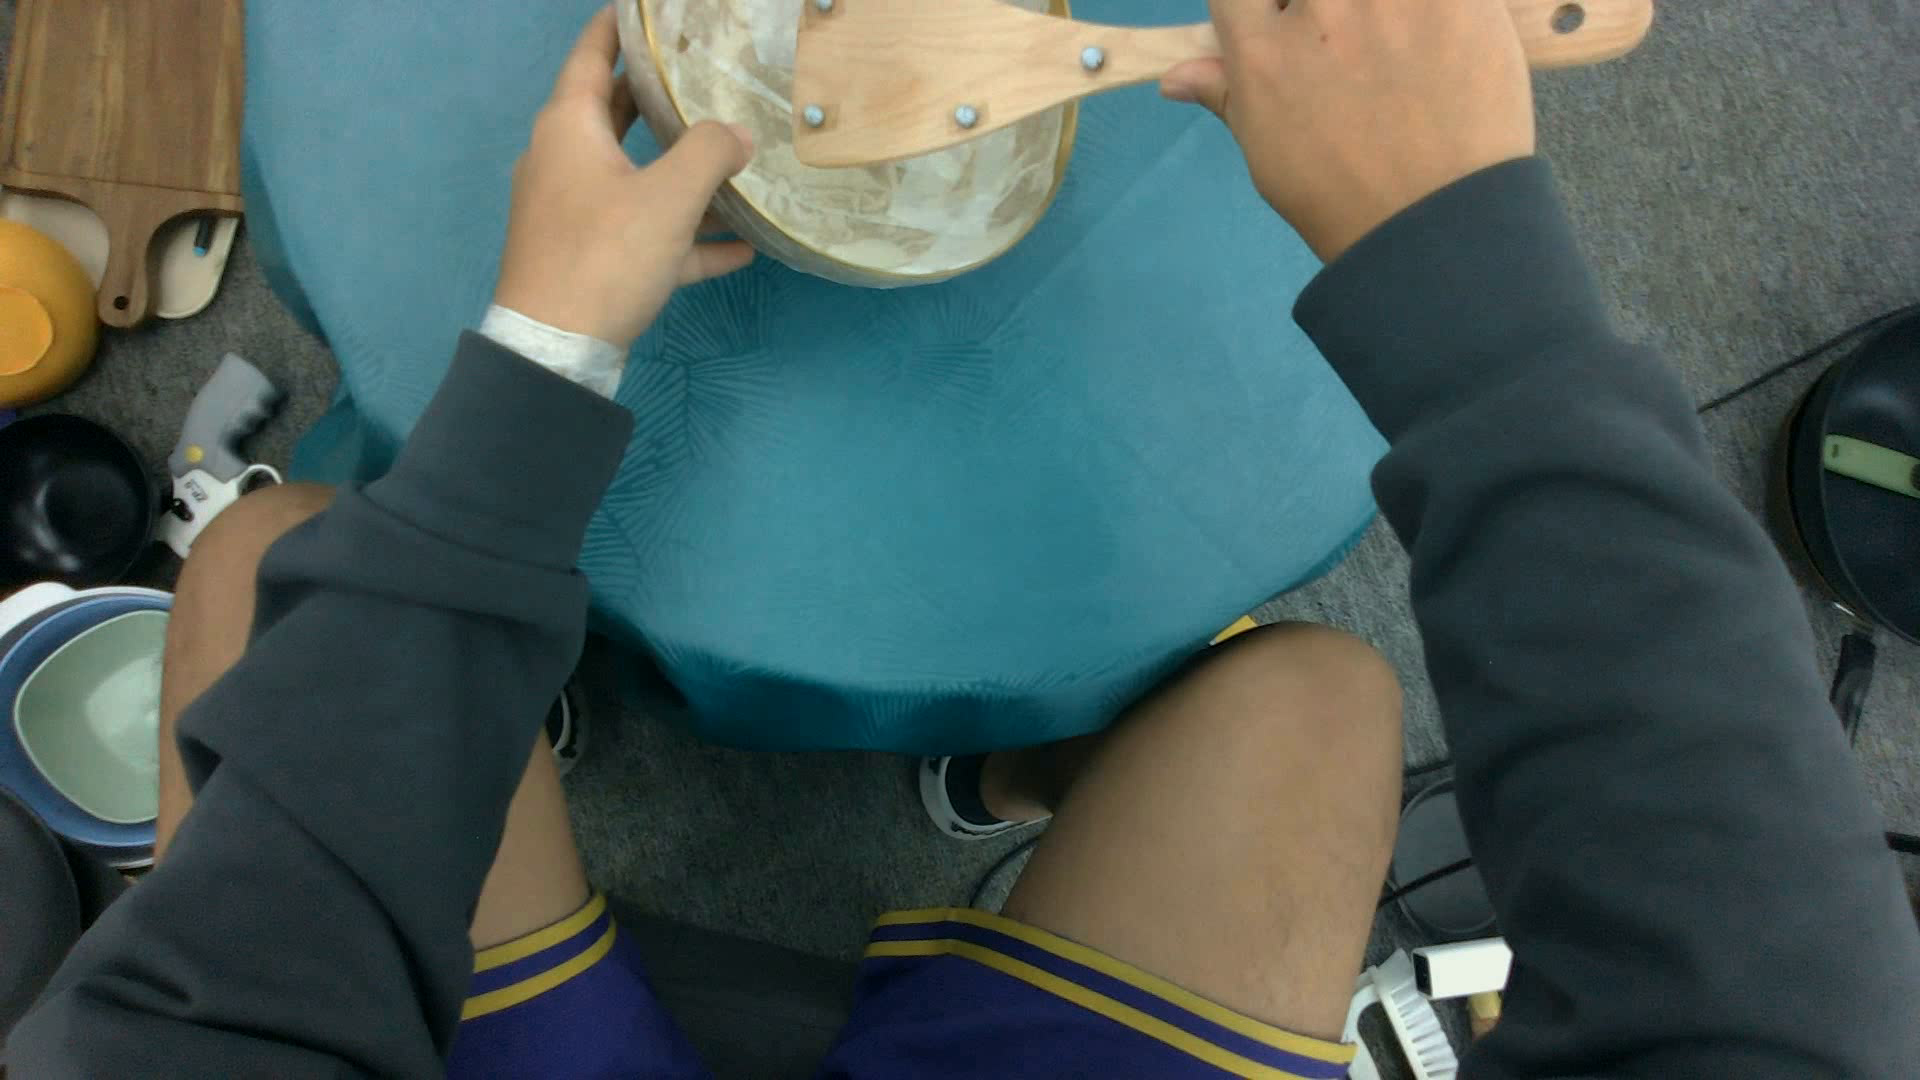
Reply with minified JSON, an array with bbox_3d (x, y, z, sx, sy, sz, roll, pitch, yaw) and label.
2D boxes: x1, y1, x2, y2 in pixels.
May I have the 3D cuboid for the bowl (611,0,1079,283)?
[{"bbox_3d":[-0.059,-0.202,0.576,0.215,0.094,0.215,4,83,-35],"label":"bowl"}]

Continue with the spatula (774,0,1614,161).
[{"bbox_3d":[0.059,-0.179,0.501,0.327,0.016,0.080,8,83,32],"label":"spatula"}]
